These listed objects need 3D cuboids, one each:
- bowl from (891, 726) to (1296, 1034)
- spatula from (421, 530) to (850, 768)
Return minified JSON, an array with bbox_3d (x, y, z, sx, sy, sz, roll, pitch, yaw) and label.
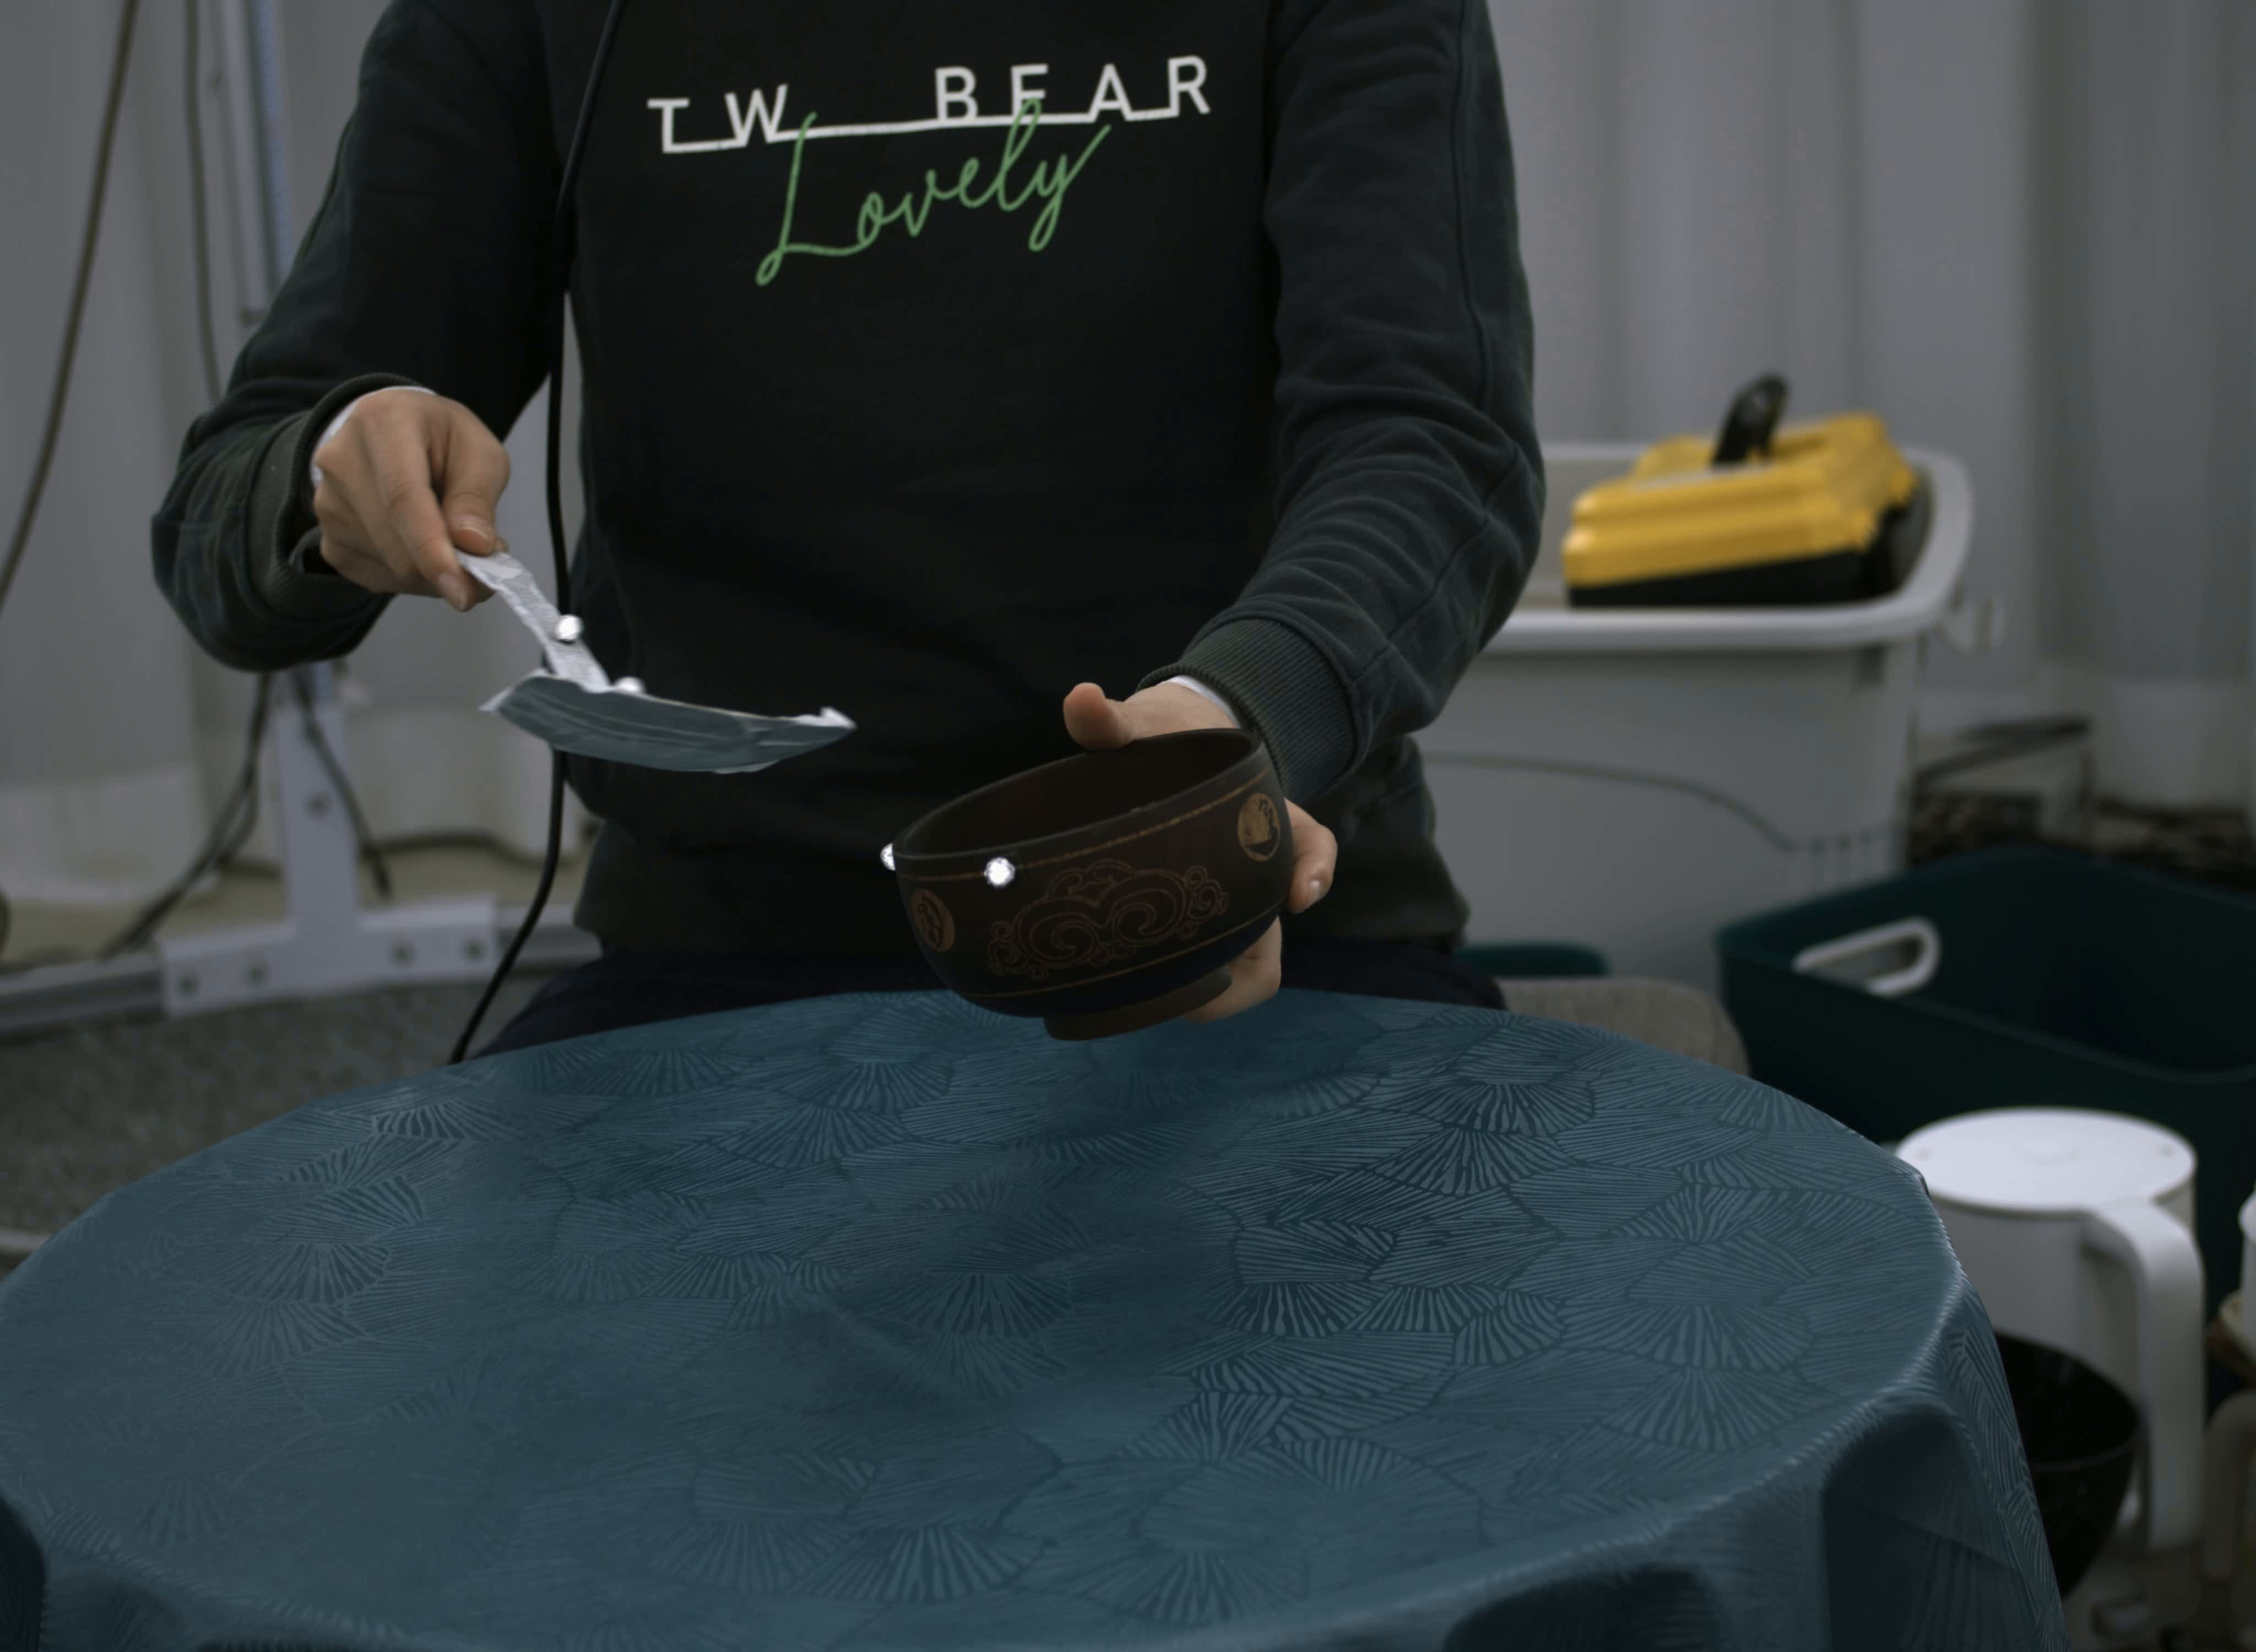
[{"bbox_3d":[-0.006,0.020,1.616,0.117,0.070,0.118,-14,10,2],"label":"bowl"},{"bbox_3d":[-0.178,-0.066,1.698,0.098,0.044,0.368,8,13,-20],"label":"spatula"}]
